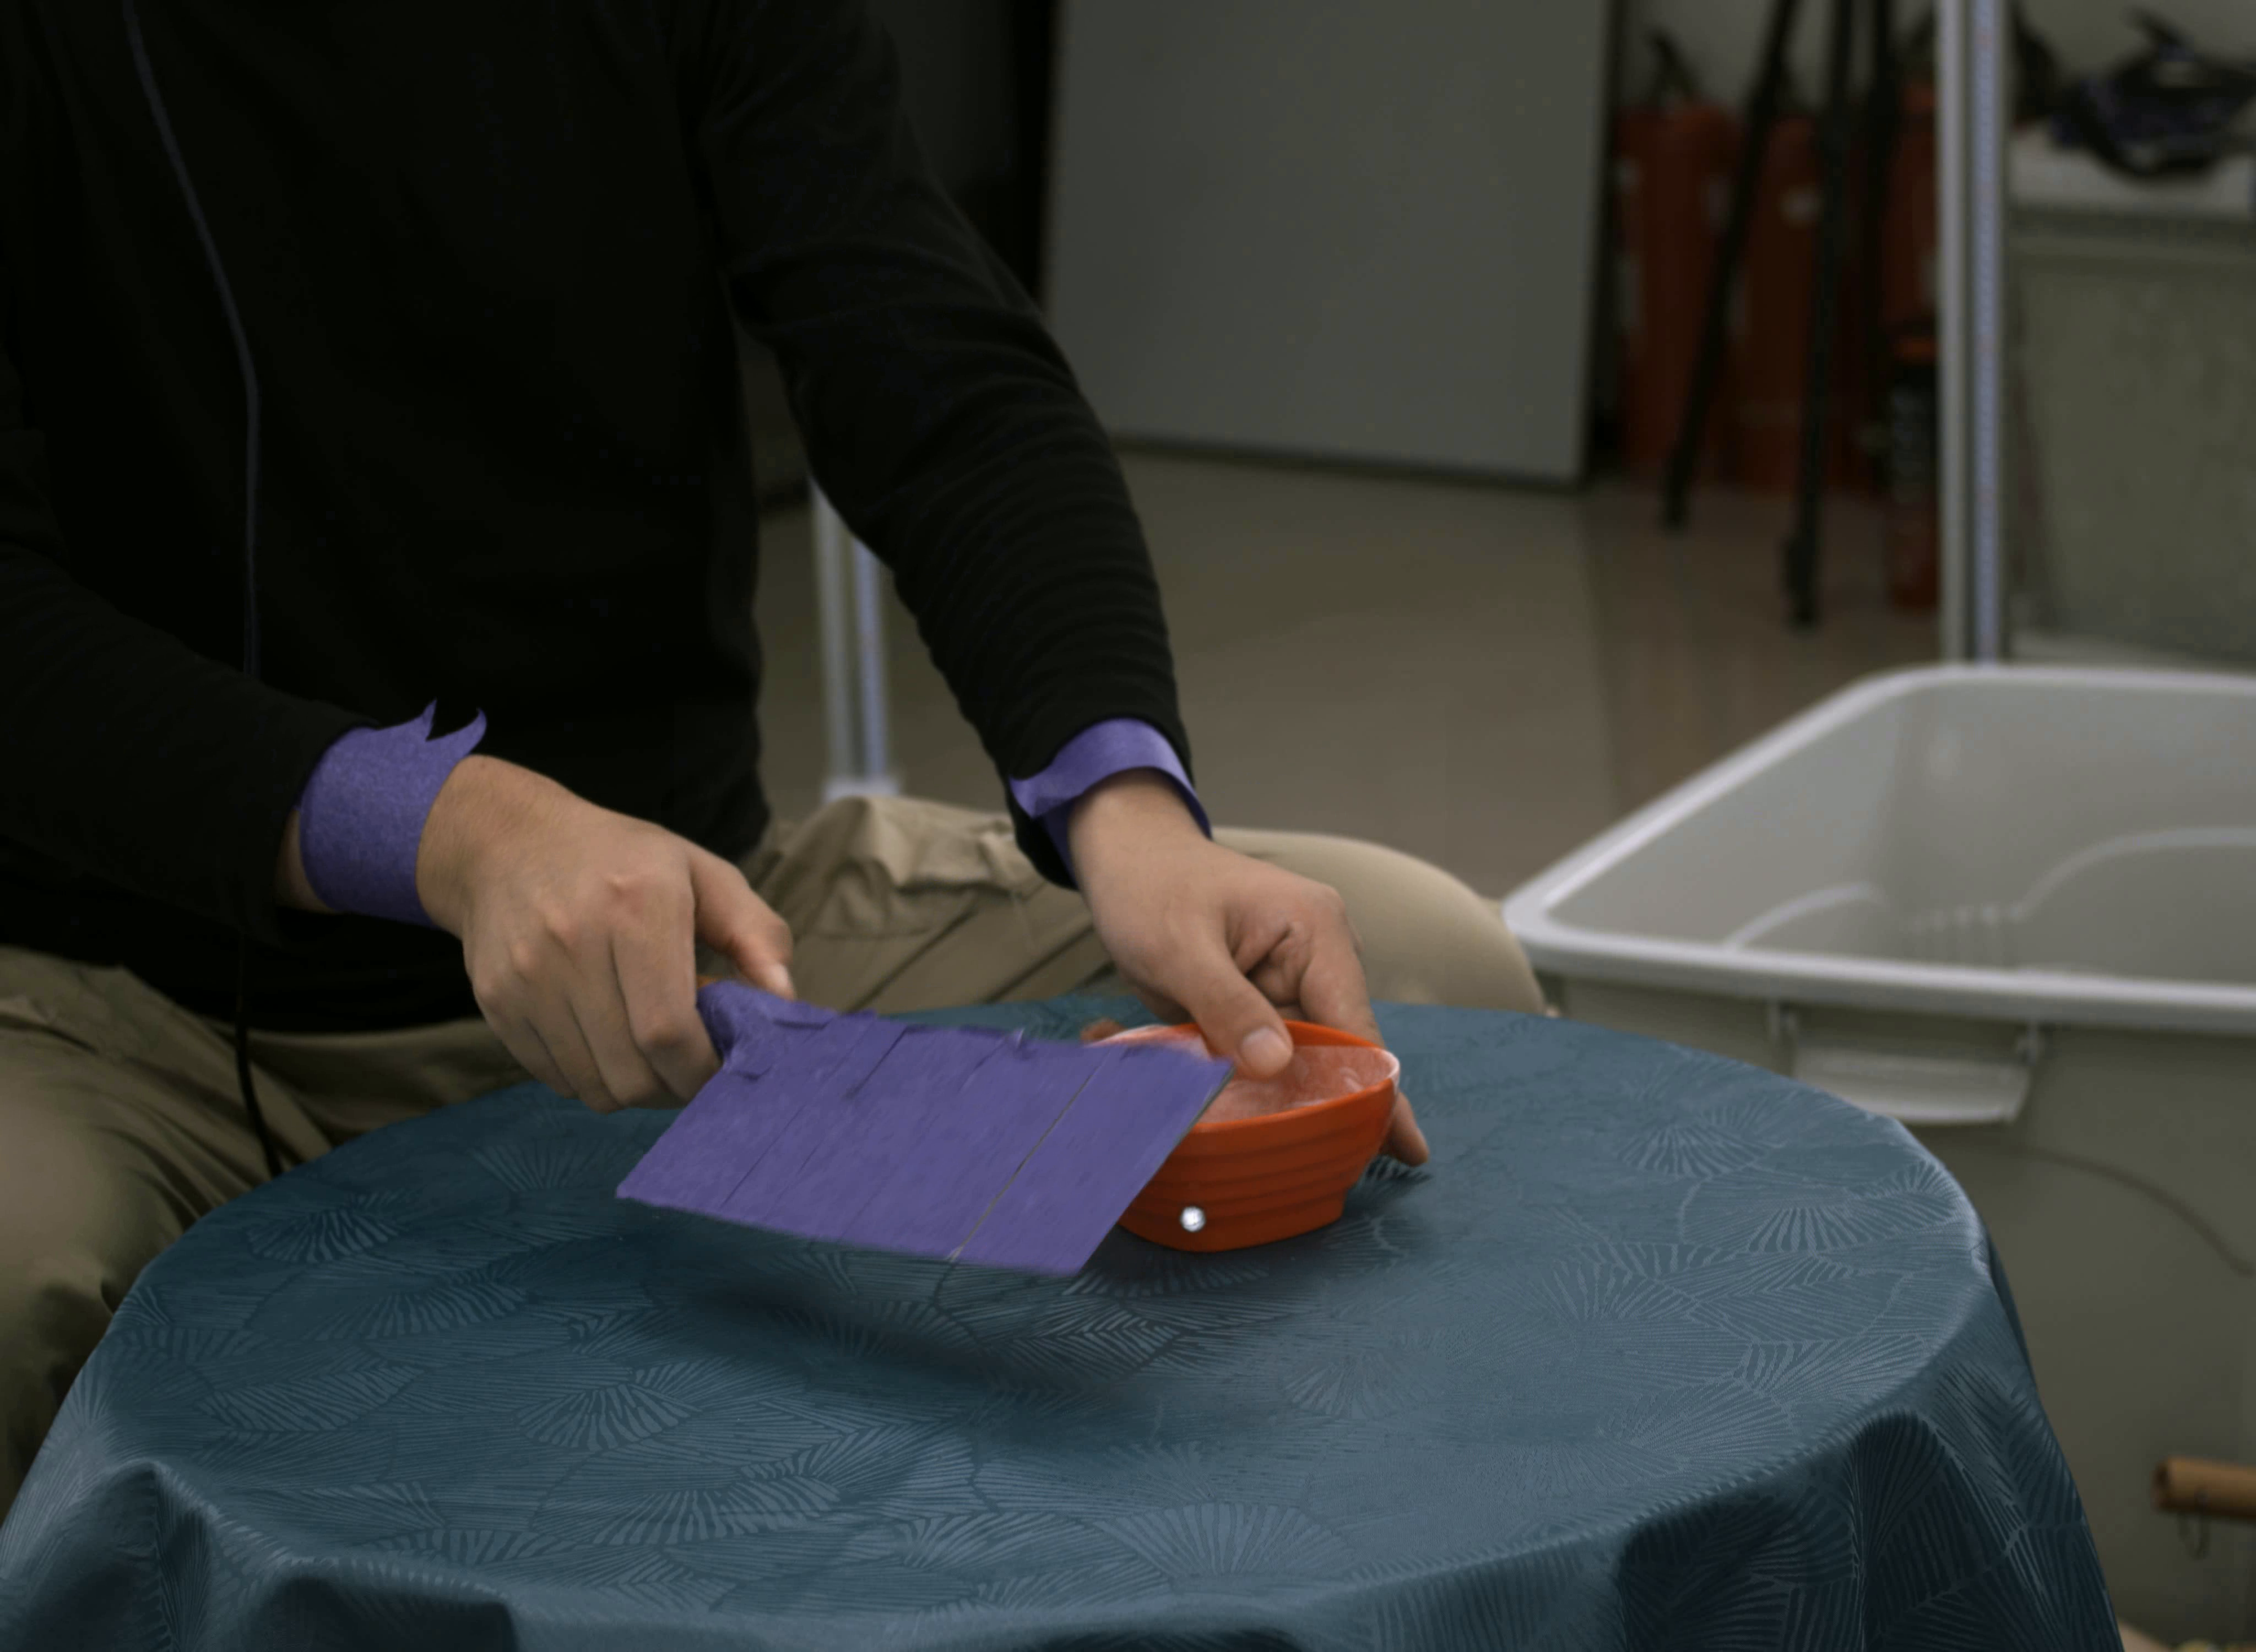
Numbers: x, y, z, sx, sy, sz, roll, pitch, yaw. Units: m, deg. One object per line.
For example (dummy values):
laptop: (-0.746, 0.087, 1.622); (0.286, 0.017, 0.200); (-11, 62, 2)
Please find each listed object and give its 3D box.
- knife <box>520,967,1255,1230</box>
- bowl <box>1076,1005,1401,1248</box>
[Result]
knife: (-0.099, 0.083, 1.674); (0.318, 0.032, 0.103); (1, 41, 46)
bowl: (0.031, 0.099, 1.736); (0.117, 0.052, 0.119); (-3, 16, 0)
